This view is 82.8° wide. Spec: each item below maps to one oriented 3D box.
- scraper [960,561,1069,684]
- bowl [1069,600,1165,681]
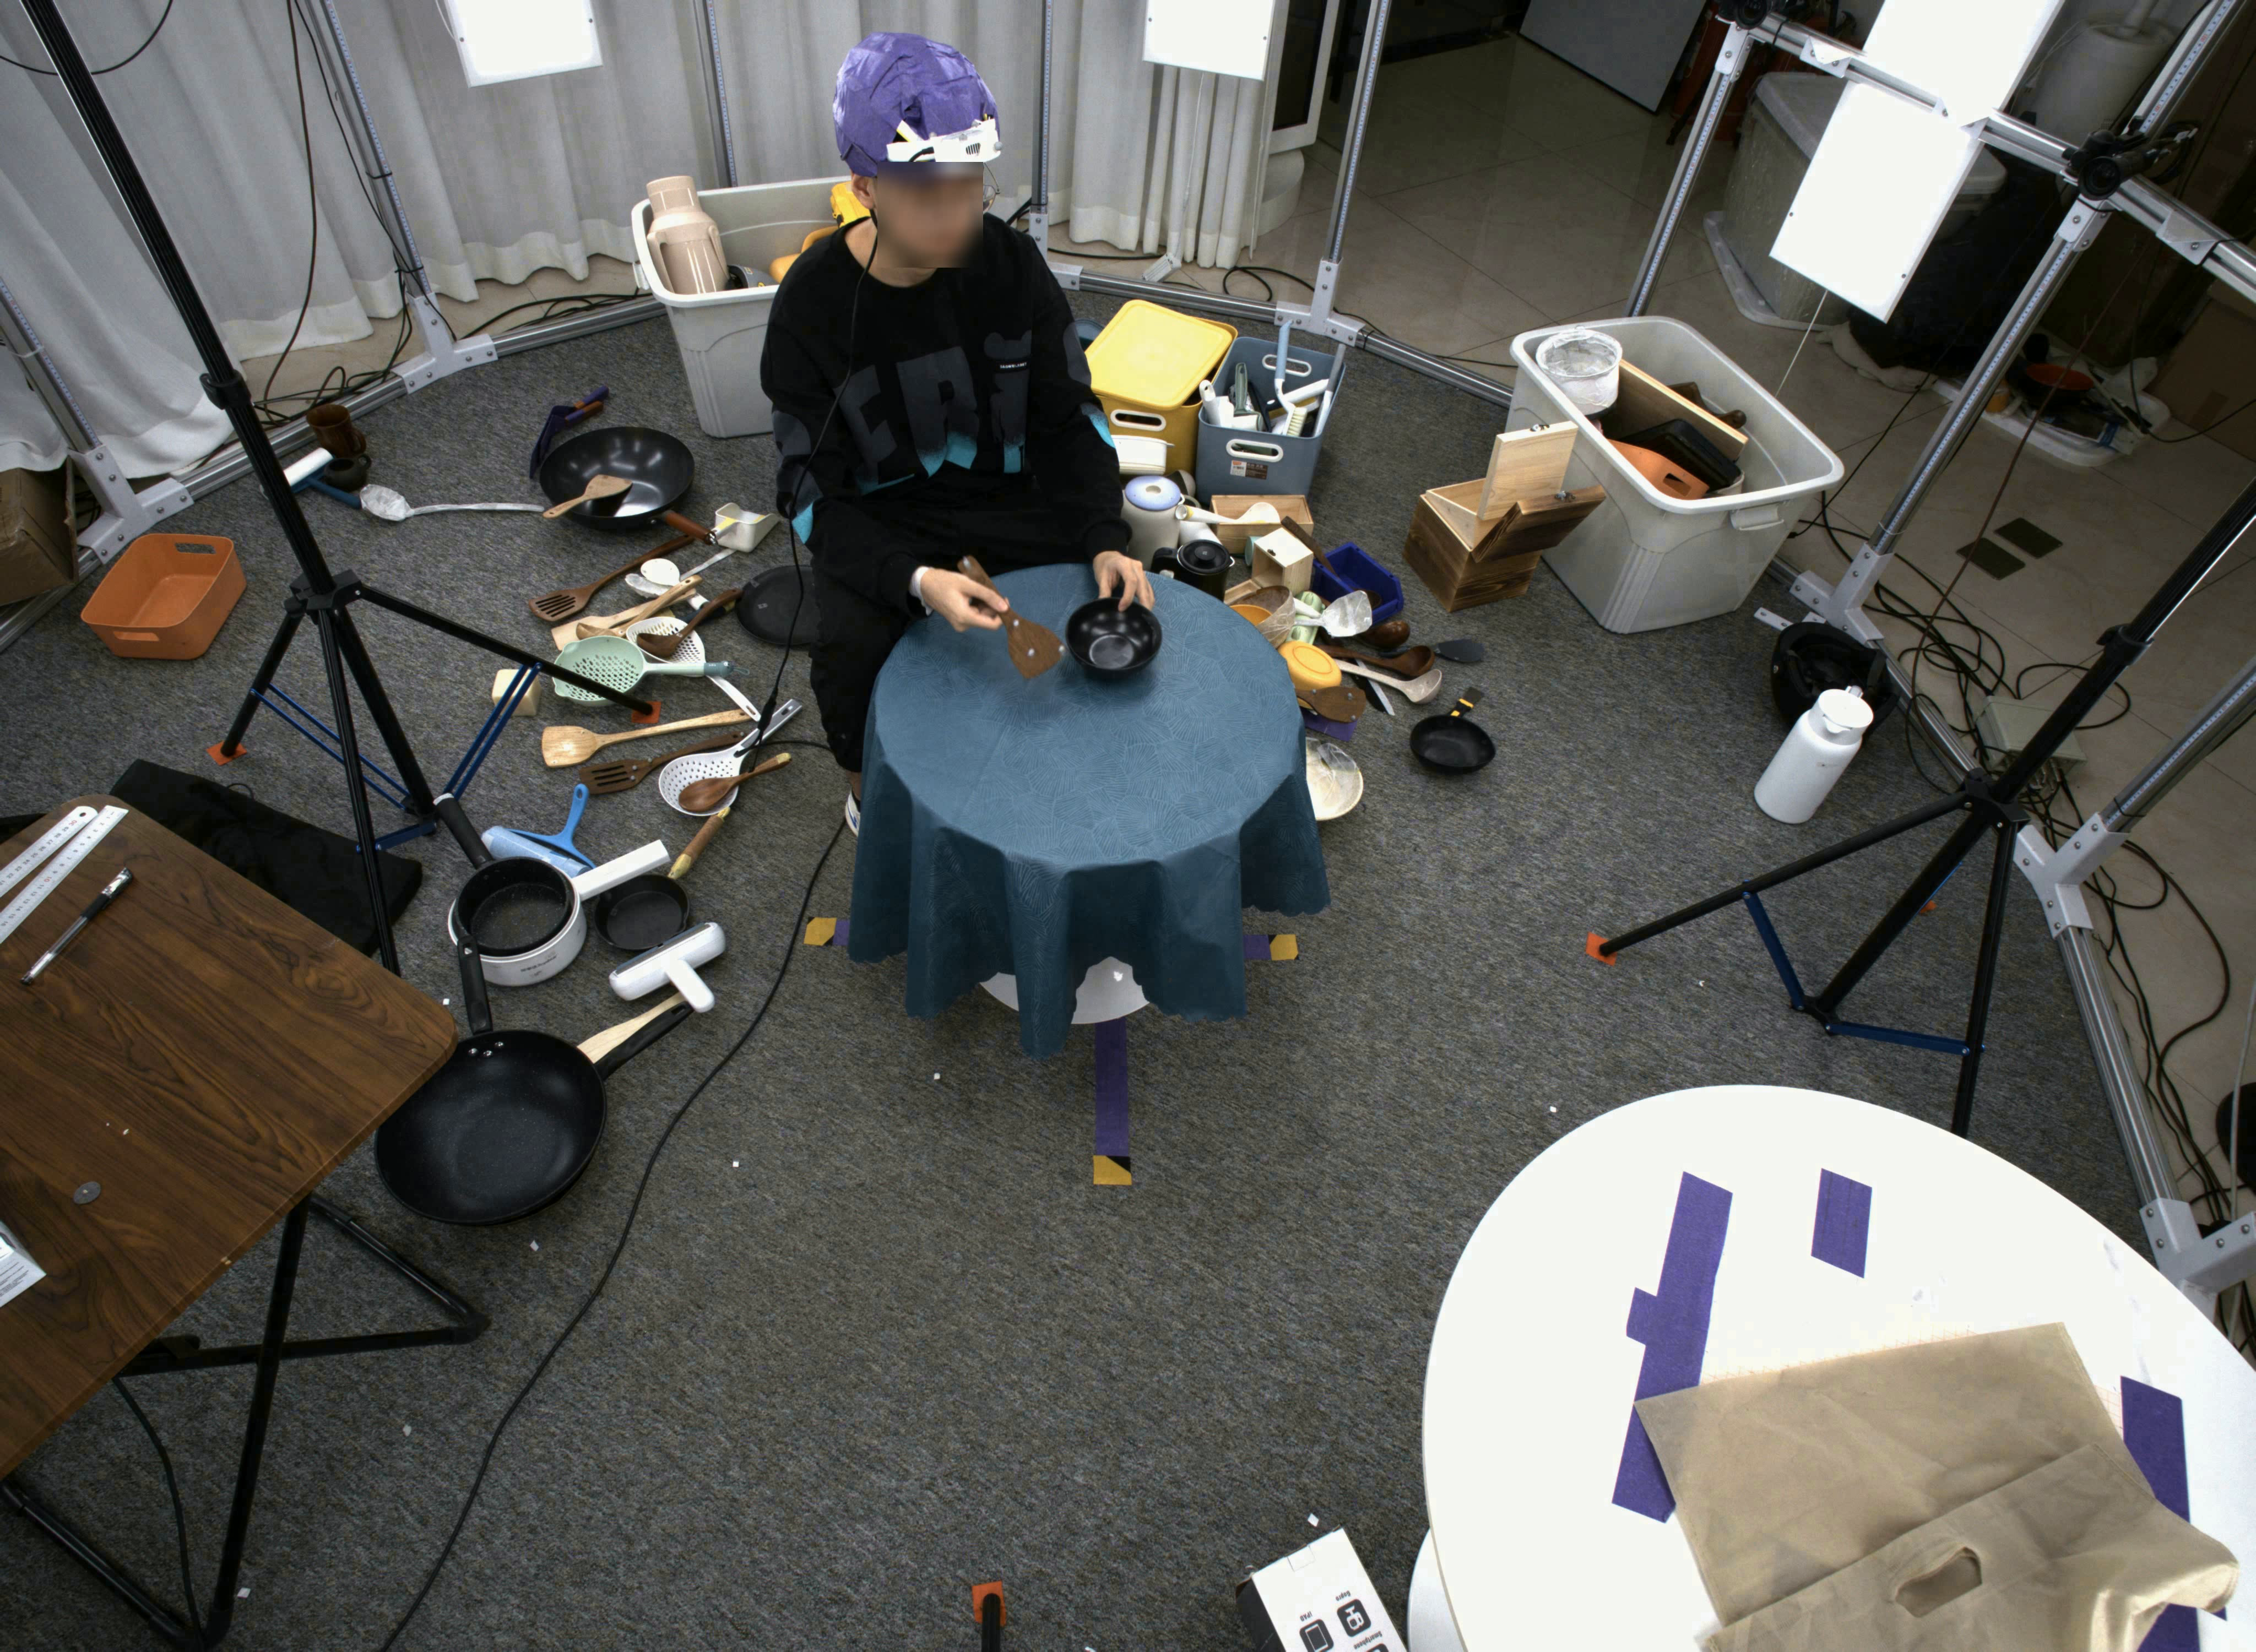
[{"bbox_3d":[-0.168,-0.293,1.815,0.076,0.010,0.214,-35,75,-11],"label":"scraper"},{"bbox_3d":[-0.016,-0.262,1.873,0.140,0.048,0.143,0,56,0],"label":"bowl"}]
